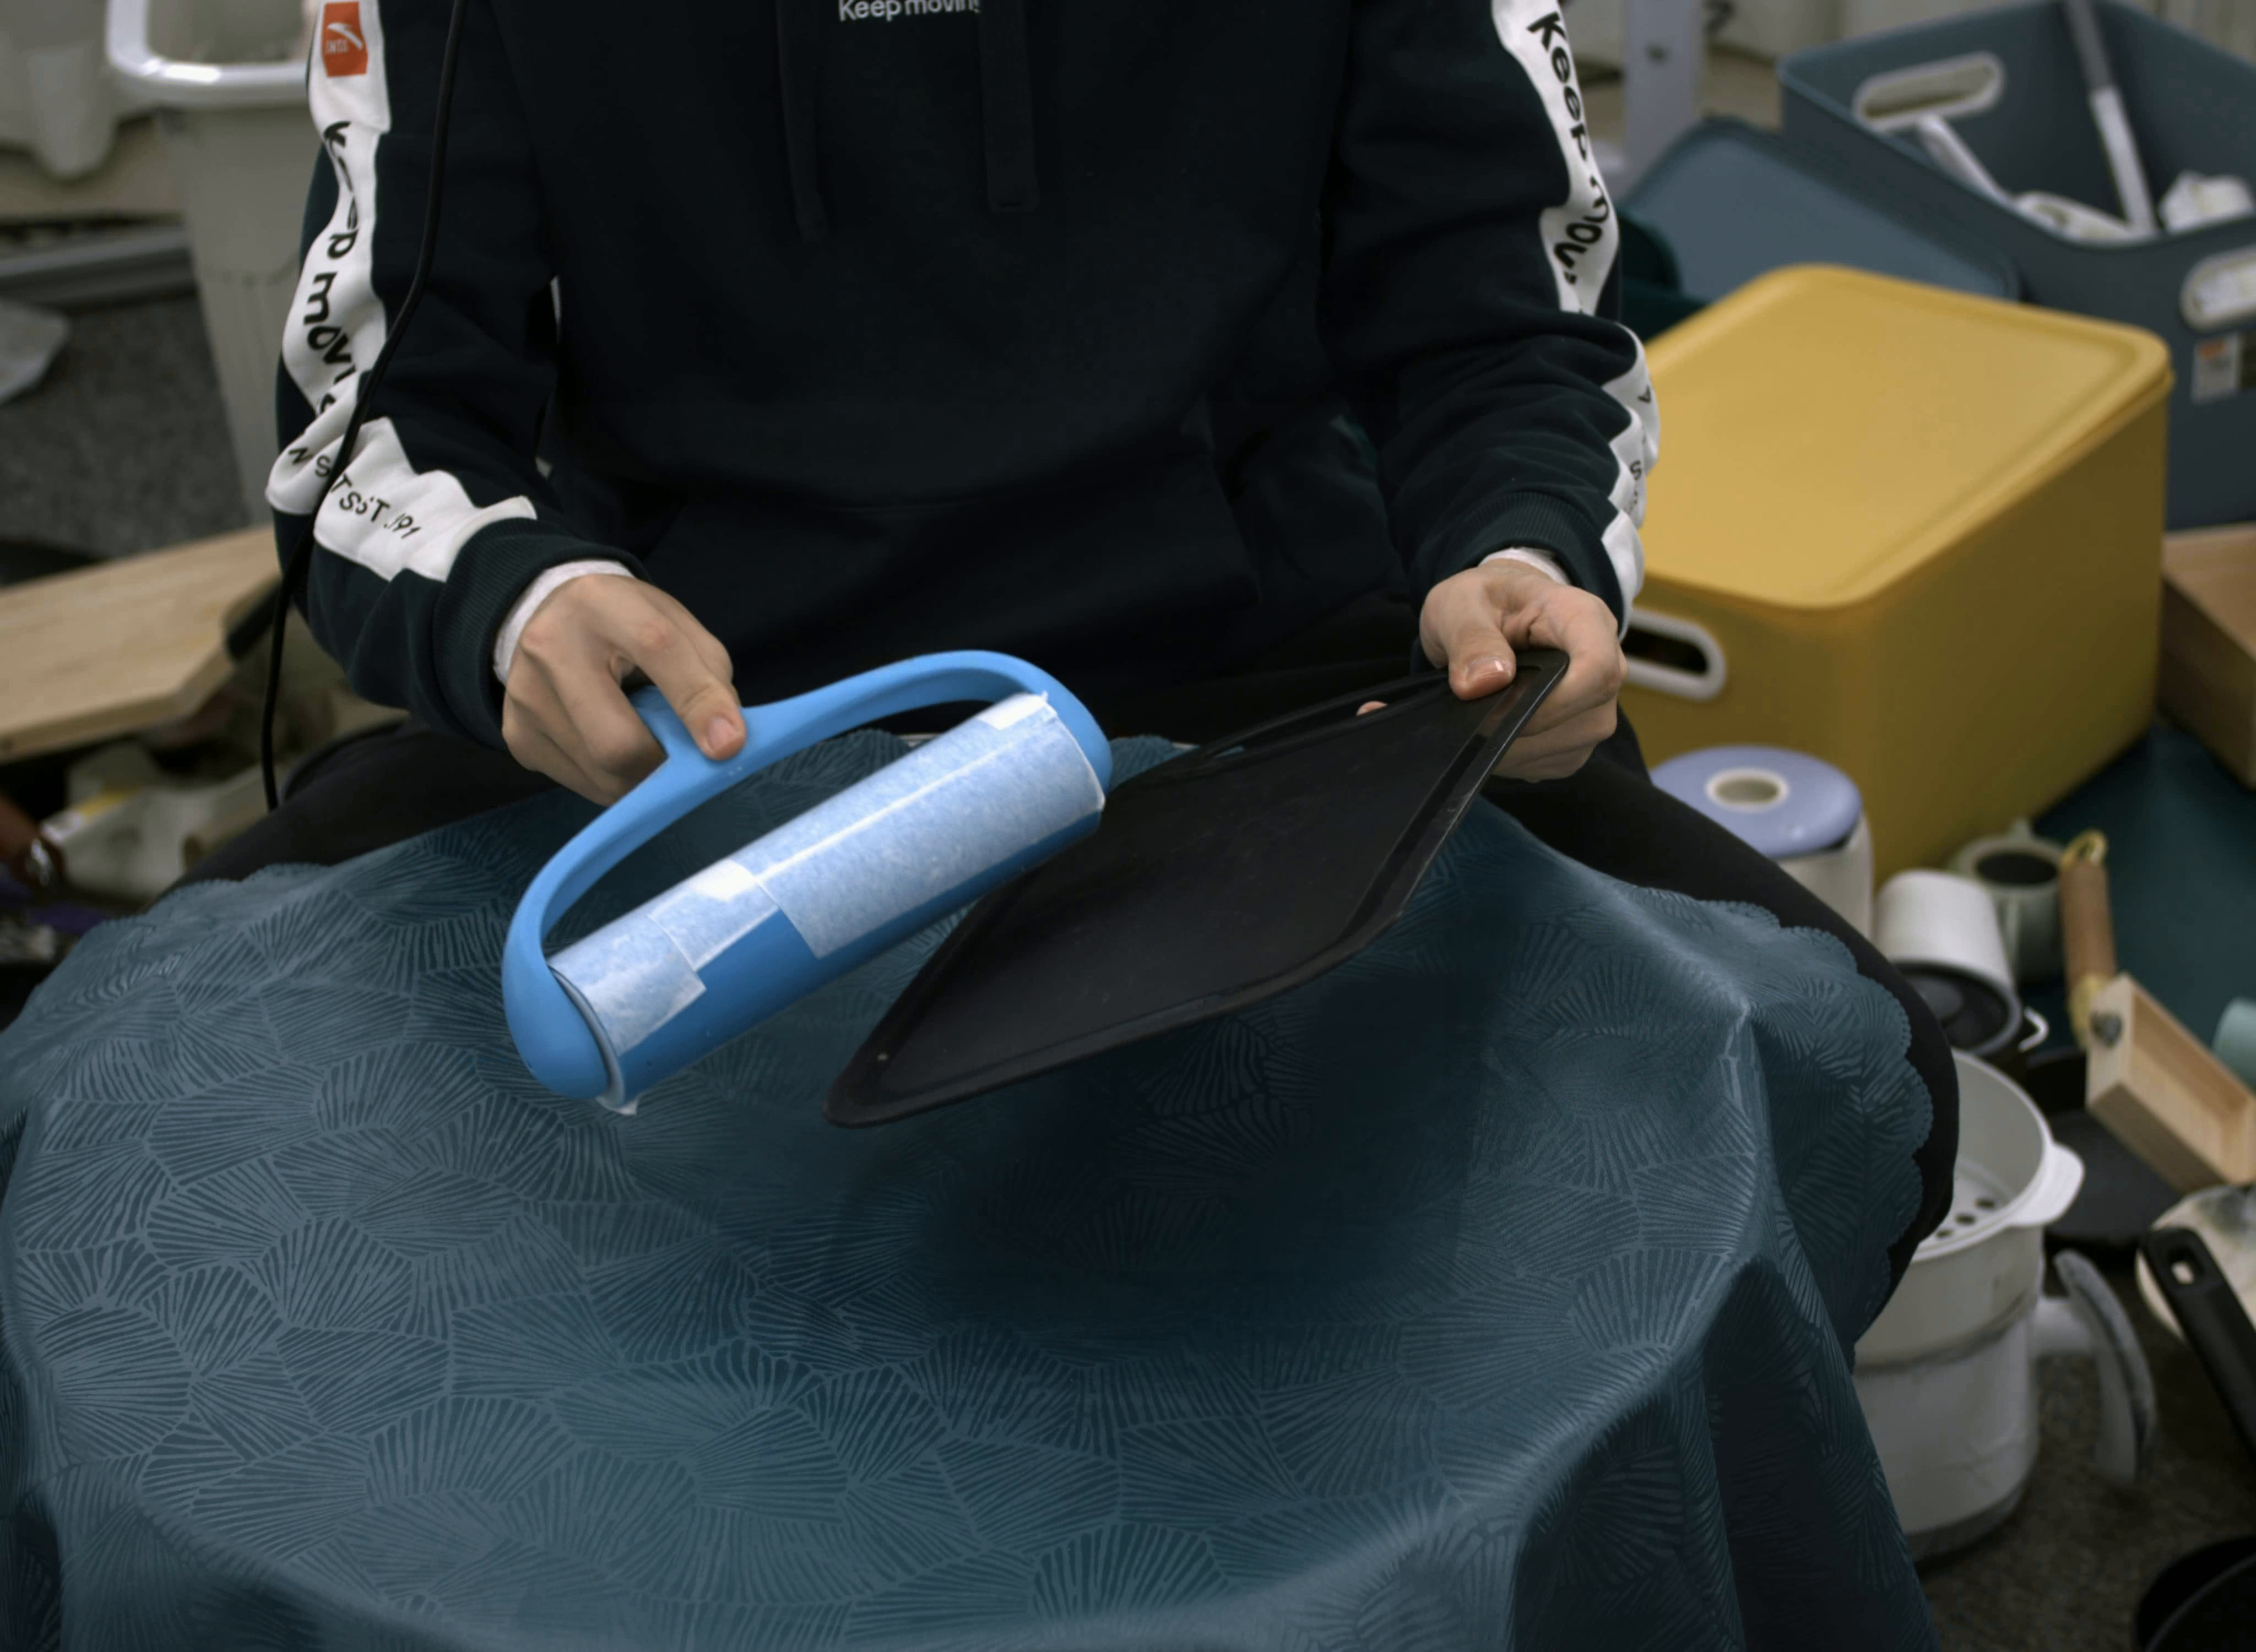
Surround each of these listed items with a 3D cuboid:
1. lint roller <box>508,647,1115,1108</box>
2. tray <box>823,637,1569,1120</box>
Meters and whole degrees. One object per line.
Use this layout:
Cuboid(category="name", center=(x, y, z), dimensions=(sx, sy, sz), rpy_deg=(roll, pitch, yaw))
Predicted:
Cuboid(category="lint roller", center=(-0.137, -0.007, 1.878), dimensions=(0.231, 0.067, 0.181), rpy_deg=(-33, 48, -24))
Cuboid(category="tray", center=(0.029, 0.010, 1.861), dimensions=(0.208, 0.010, 0.330), rpy_deg=(-19, 14, 24))
